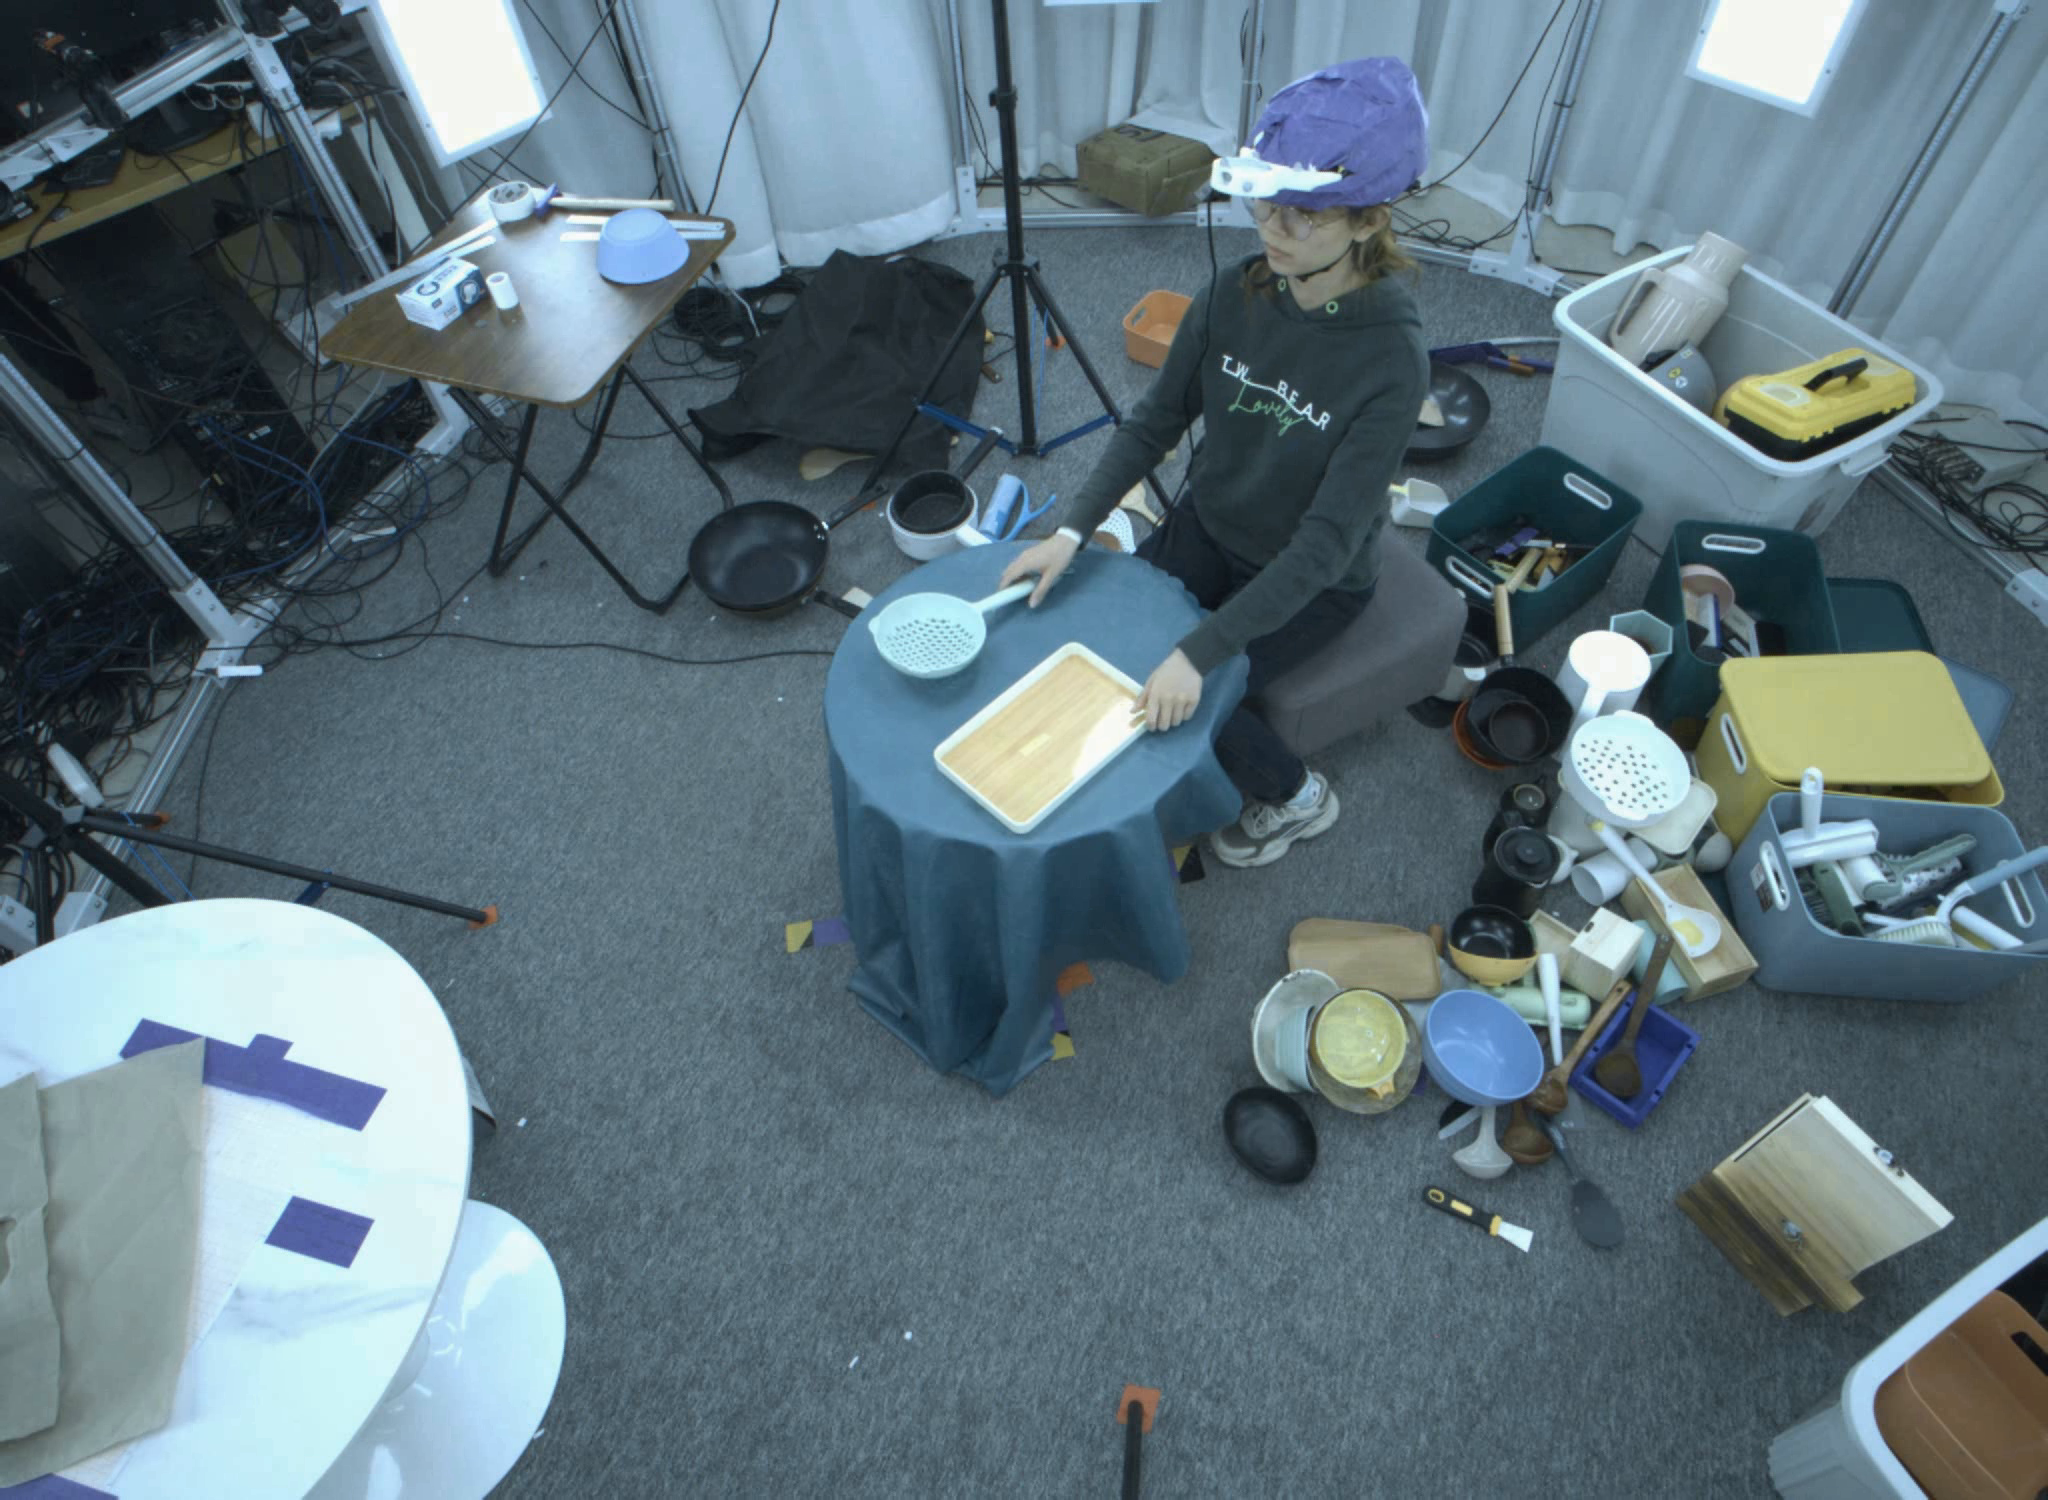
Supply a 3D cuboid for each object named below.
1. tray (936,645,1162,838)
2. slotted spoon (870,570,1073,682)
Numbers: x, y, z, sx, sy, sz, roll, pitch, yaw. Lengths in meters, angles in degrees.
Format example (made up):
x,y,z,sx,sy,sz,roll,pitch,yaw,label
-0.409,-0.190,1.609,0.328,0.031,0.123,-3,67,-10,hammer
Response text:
x,y,z,sx,sy,sz,roll,pitch,yaw,label
0.039,-0.018,1.793,0.188,0.028,0.302,39,65,25,tray
-0.066,-0.212,1.909,0.361,0.076,0.166,-34,61,-20,slotted spoon
